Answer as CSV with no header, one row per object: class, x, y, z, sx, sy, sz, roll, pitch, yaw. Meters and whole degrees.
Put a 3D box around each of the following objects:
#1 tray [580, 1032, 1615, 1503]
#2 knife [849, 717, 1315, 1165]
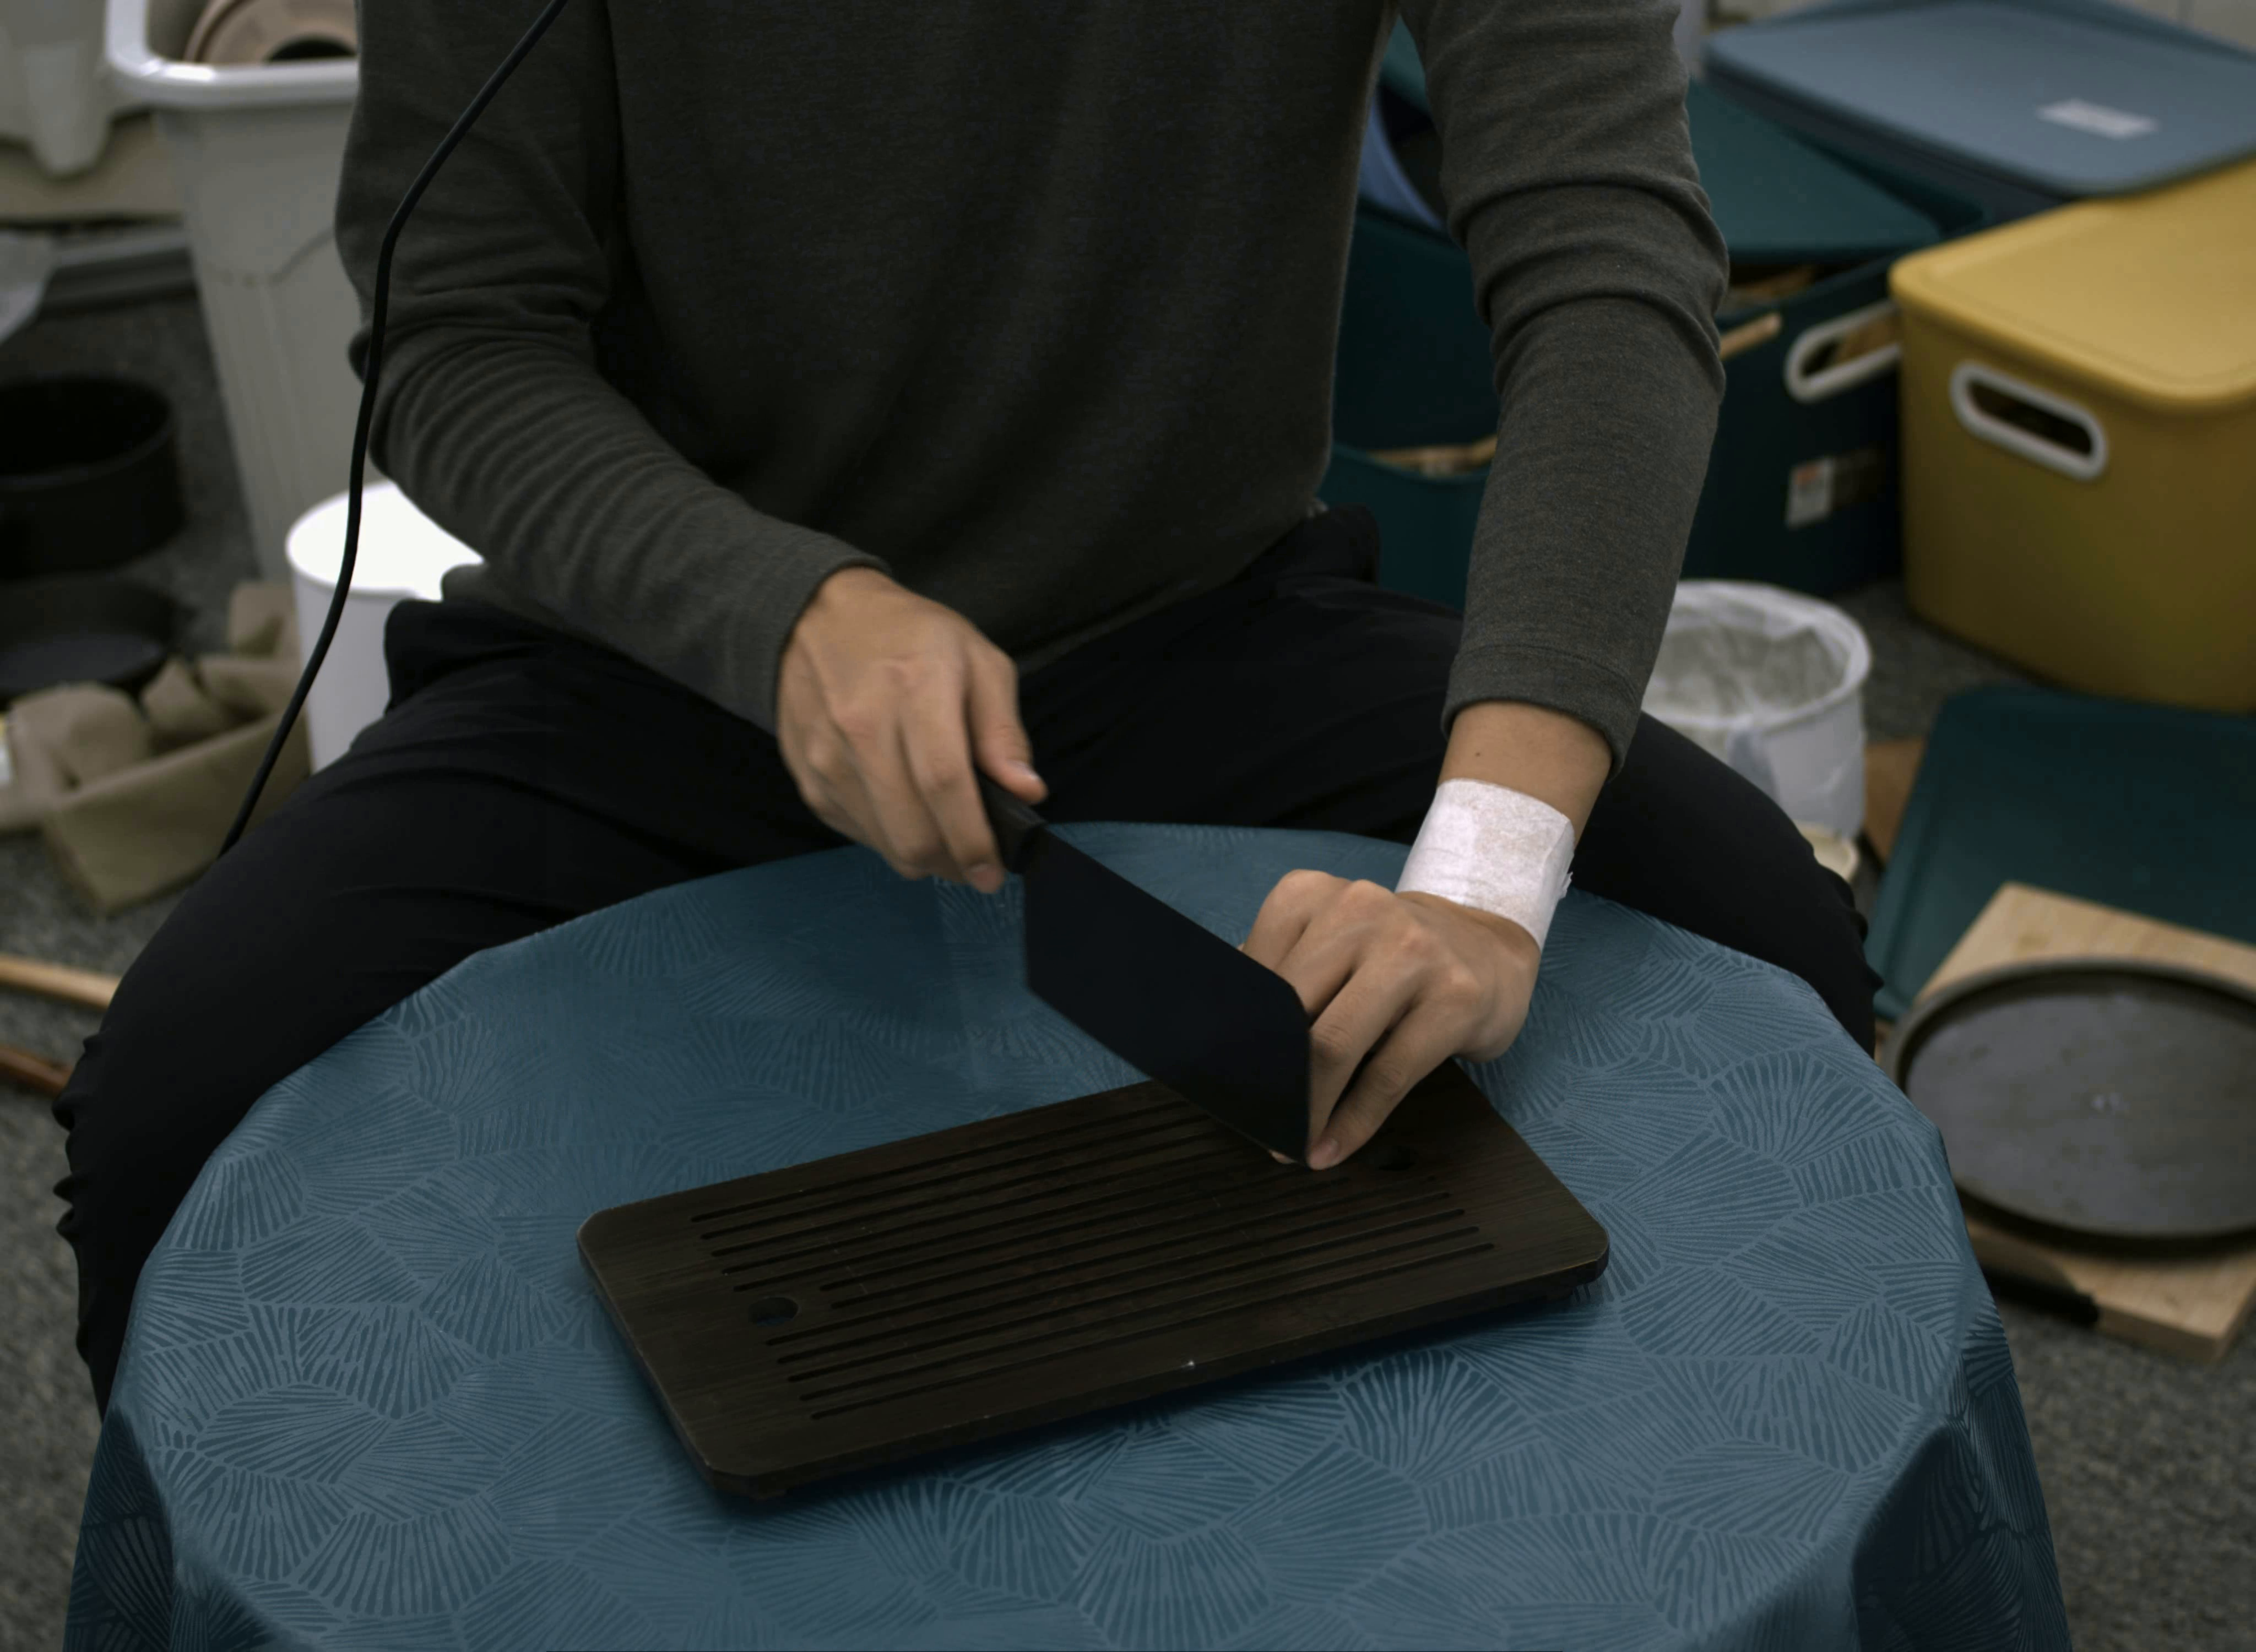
tray,-0.011,0.140,1.807,0.306,0.018,0.171,-12,28,-18
knife,-0.017,0.032,1.899,0.021,0.080,0.303,-12,29,-28
